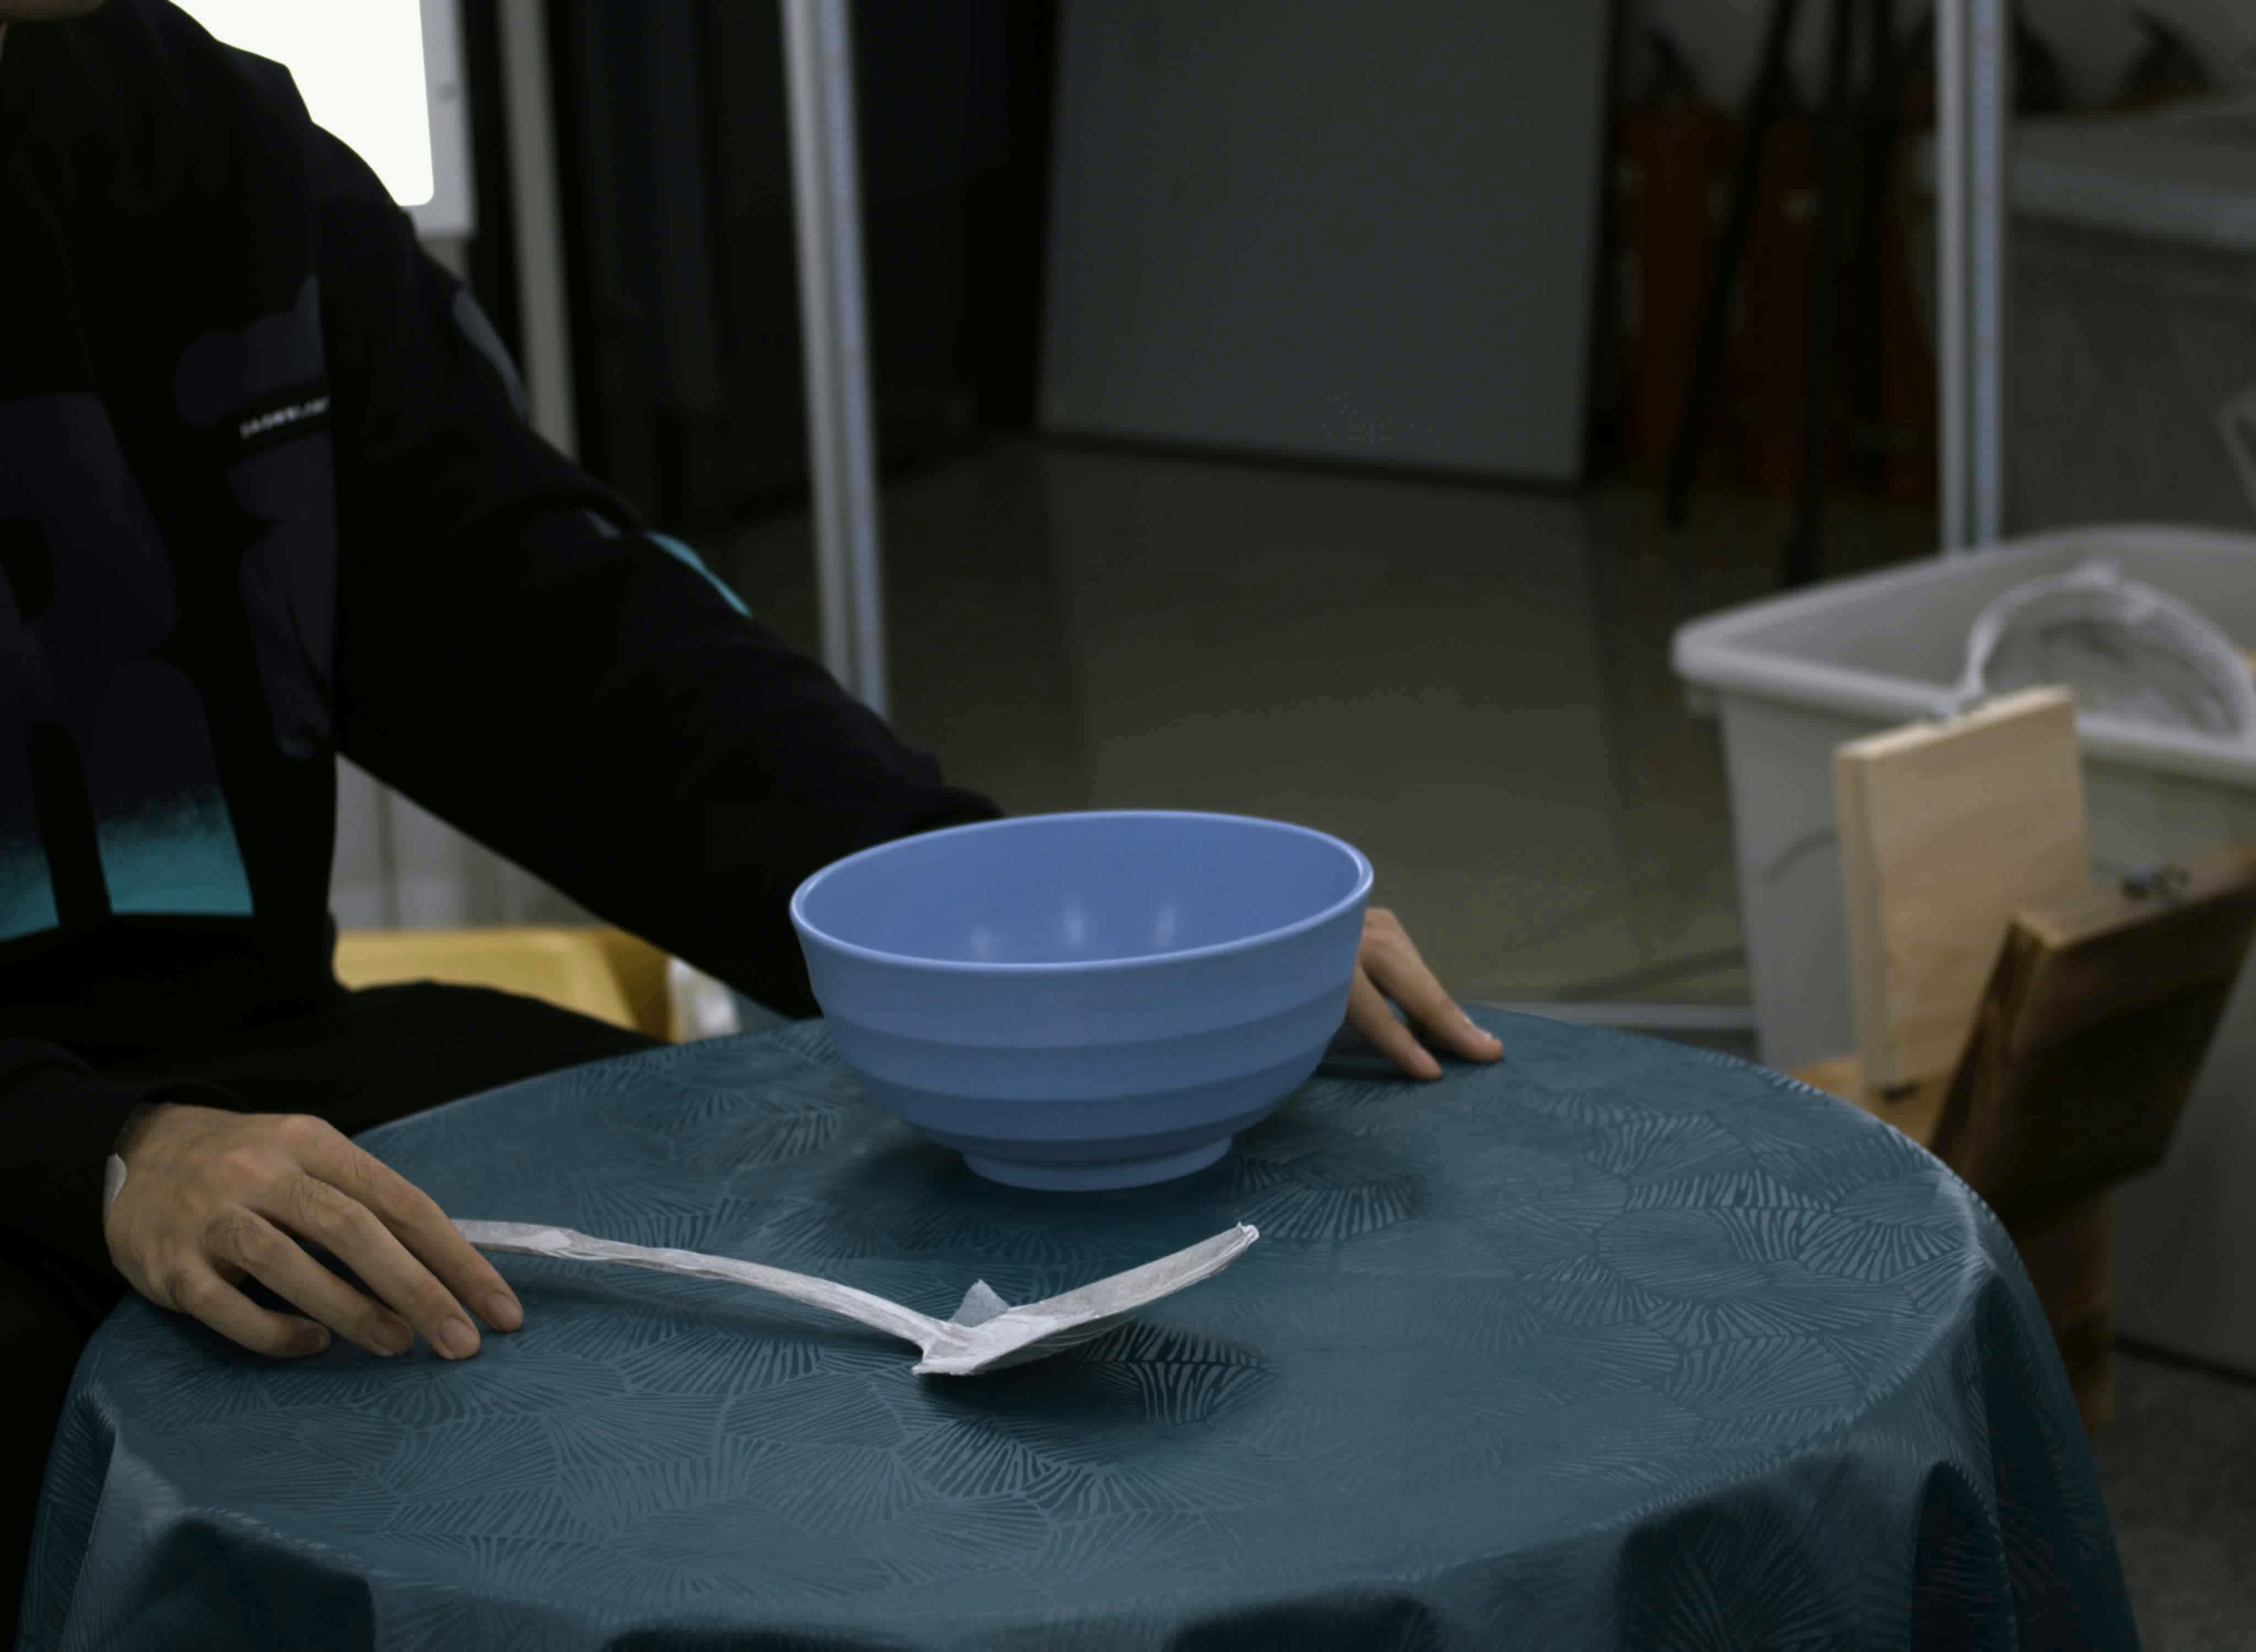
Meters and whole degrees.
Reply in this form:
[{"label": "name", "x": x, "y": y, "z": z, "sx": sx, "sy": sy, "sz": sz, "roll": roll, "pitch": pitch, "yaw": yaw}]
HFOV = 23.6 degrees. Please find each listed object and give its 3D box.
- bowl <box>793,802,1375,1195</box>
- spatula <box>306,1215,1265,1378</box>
[{"label": "bowl", "x": -0.012, "y": 0.064, "z": 1.806, "sx": 0.194, "sy": 0.096, "sz": 0.197, "roll": -3, "pitch": 15, "yaw": 0}, {"label": "spatula", "x": -0.124, "y": 0.134, "z": 1.675, "sx": 0.367, "sy": 0.045, "sz": 0.097, "roll": 5, "pitch": 18, "yaw": 33}]
